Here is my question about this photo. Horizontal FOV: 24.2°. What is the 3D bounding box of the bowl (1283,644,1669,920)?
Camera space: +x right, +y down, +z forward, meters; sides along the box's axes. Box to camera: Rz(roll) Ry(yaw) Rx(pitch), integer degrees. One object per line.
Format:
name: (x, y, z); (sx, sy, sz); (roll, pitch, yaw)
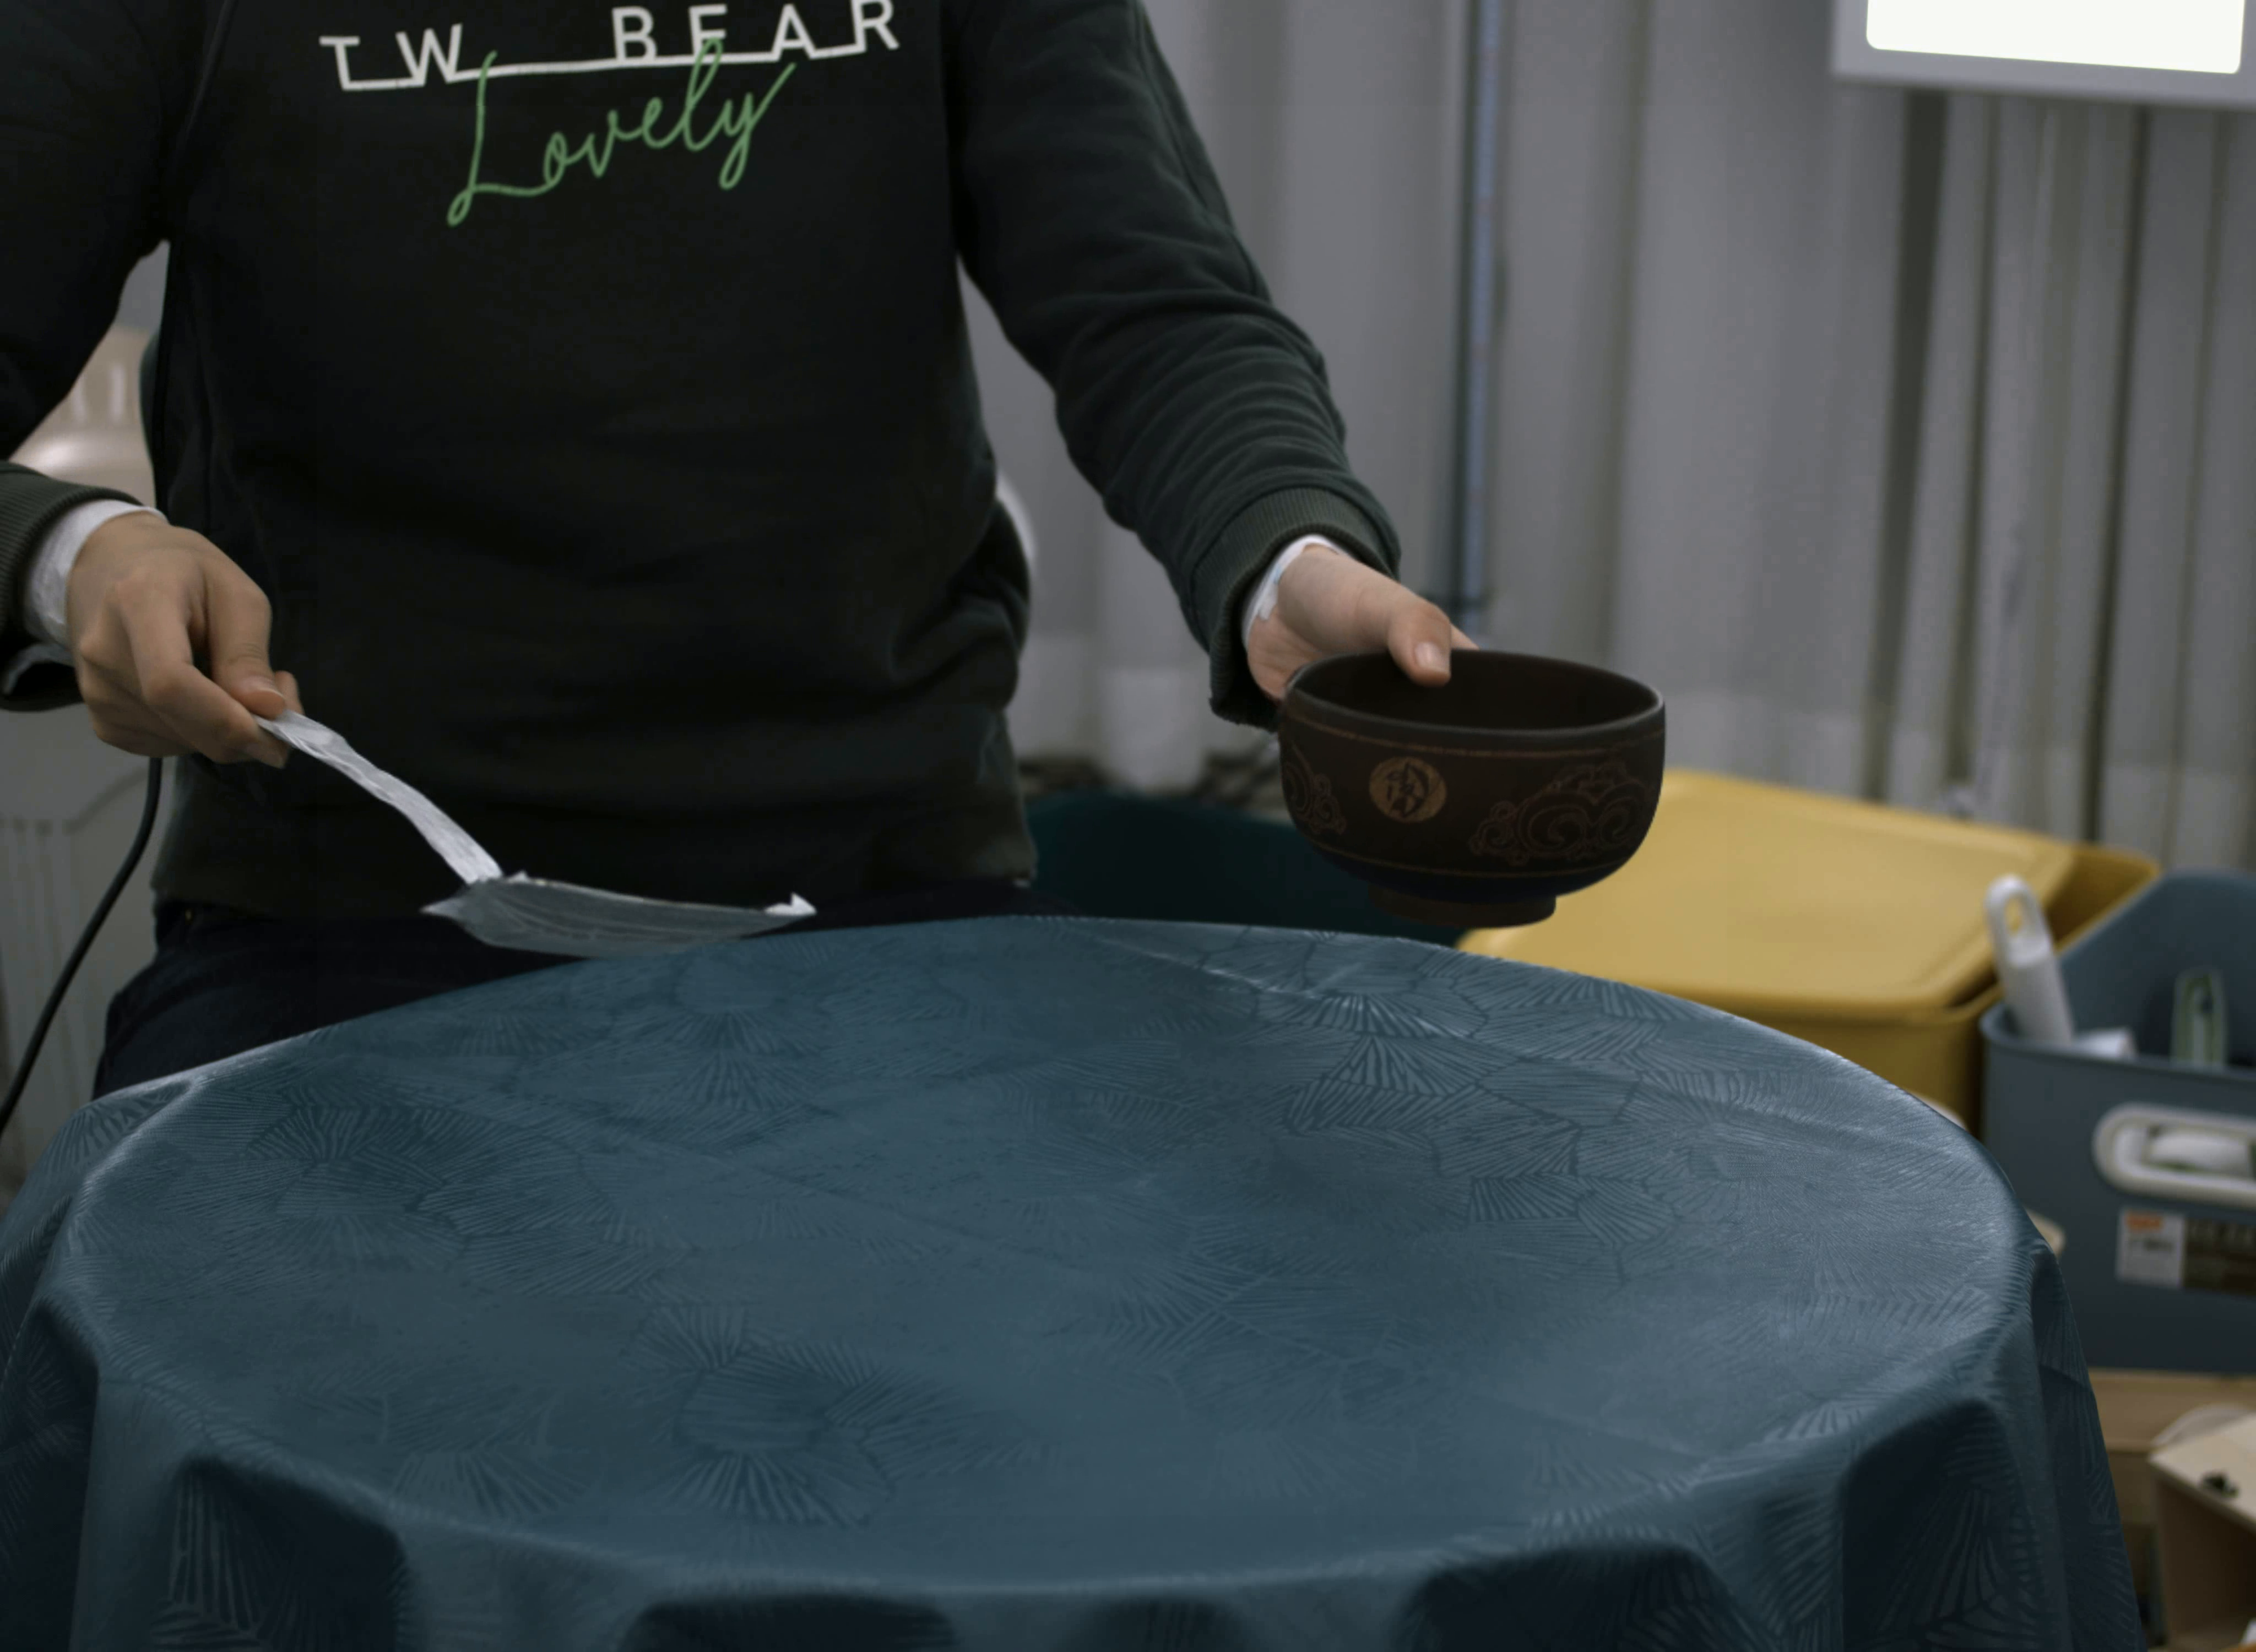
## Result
bowl: (0.105, -0.011, 1.610); (0.117, 0.070, 0.117); (4, 13, 0)

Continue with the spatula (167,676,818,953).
spatula: (-0.214, -0.014, 1.564); (0.099, 0.045, 0.360); (5, 14, -34)
